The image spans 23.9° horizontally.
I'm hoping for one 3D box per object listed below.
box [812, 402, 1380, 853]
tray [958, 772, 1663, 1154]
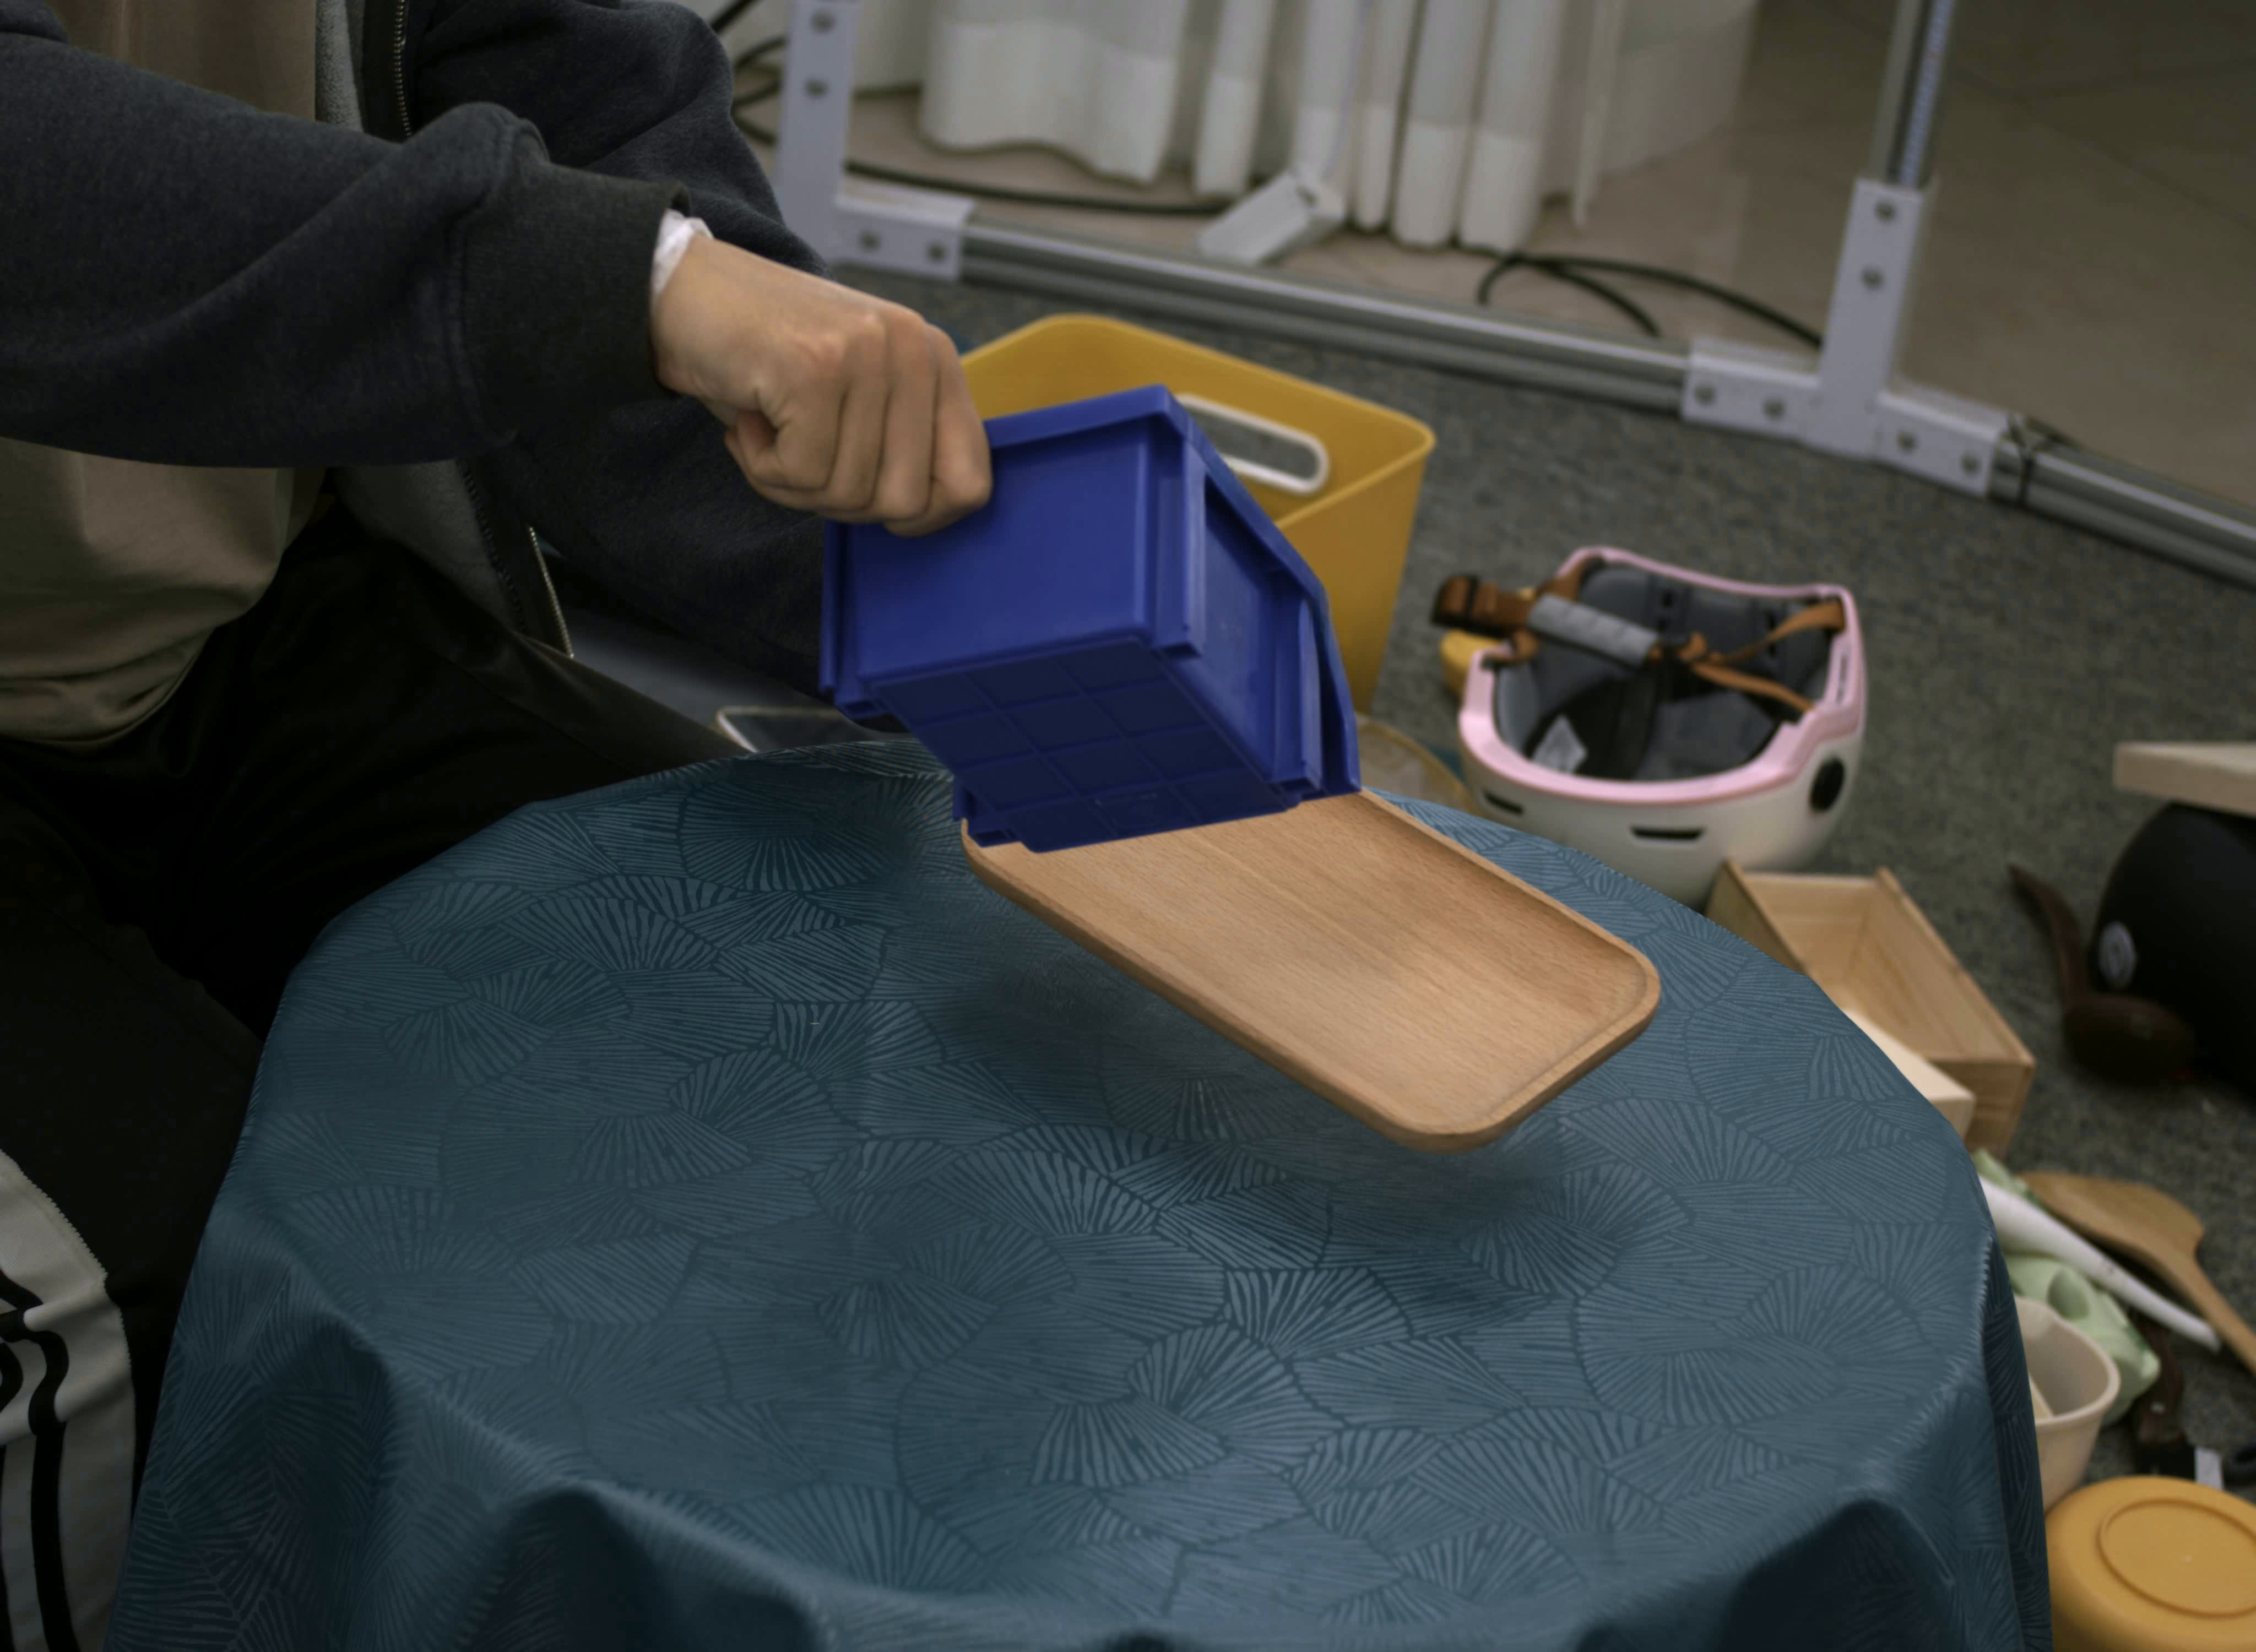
[{"bbox_3d":[-0.010,-0.054,1.724,0.124,0.082,0.178,-11,-24,23],"label":"box"},{"bbox_3d":[0.061,0.032,1.856,0.130,0.023,0.252,-30,46,-35],"label":"tray"}]
